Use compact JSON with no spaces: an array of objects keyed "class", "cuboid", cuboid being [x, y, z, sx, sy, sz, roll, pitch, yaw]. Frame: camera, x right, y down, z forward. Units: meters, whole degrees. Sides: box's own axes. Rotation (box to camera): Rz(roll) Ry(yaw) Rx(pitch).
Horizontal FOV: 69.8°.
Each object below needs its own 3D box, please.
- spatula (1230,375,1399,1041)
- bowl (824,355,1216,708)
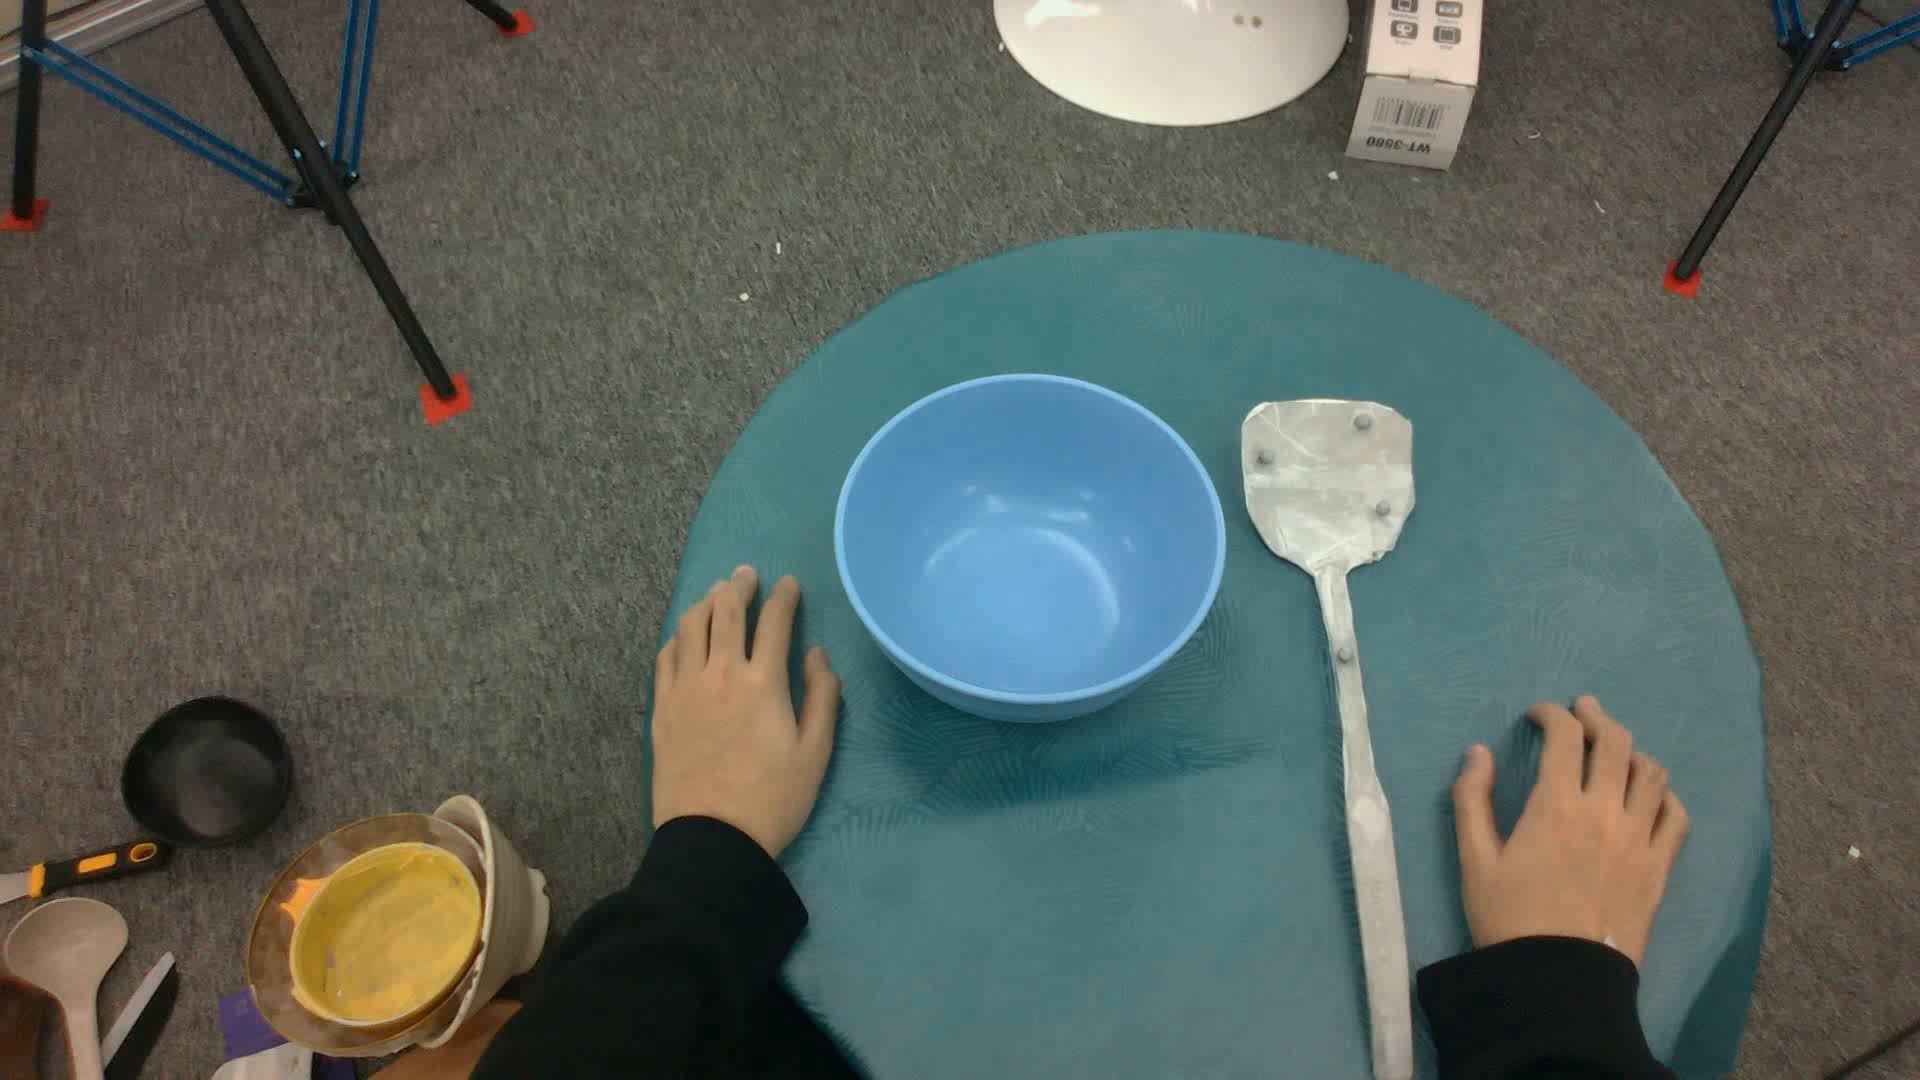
[{"class":"spatula","cuboid":[0.195,0.070,0.723,0.099,0.044,0.366,4,58,-1]},{"class":"bowl","cuboid":[0.029,0.008,0.727,0.196,0.095,0.197,1,59,-2]}]
